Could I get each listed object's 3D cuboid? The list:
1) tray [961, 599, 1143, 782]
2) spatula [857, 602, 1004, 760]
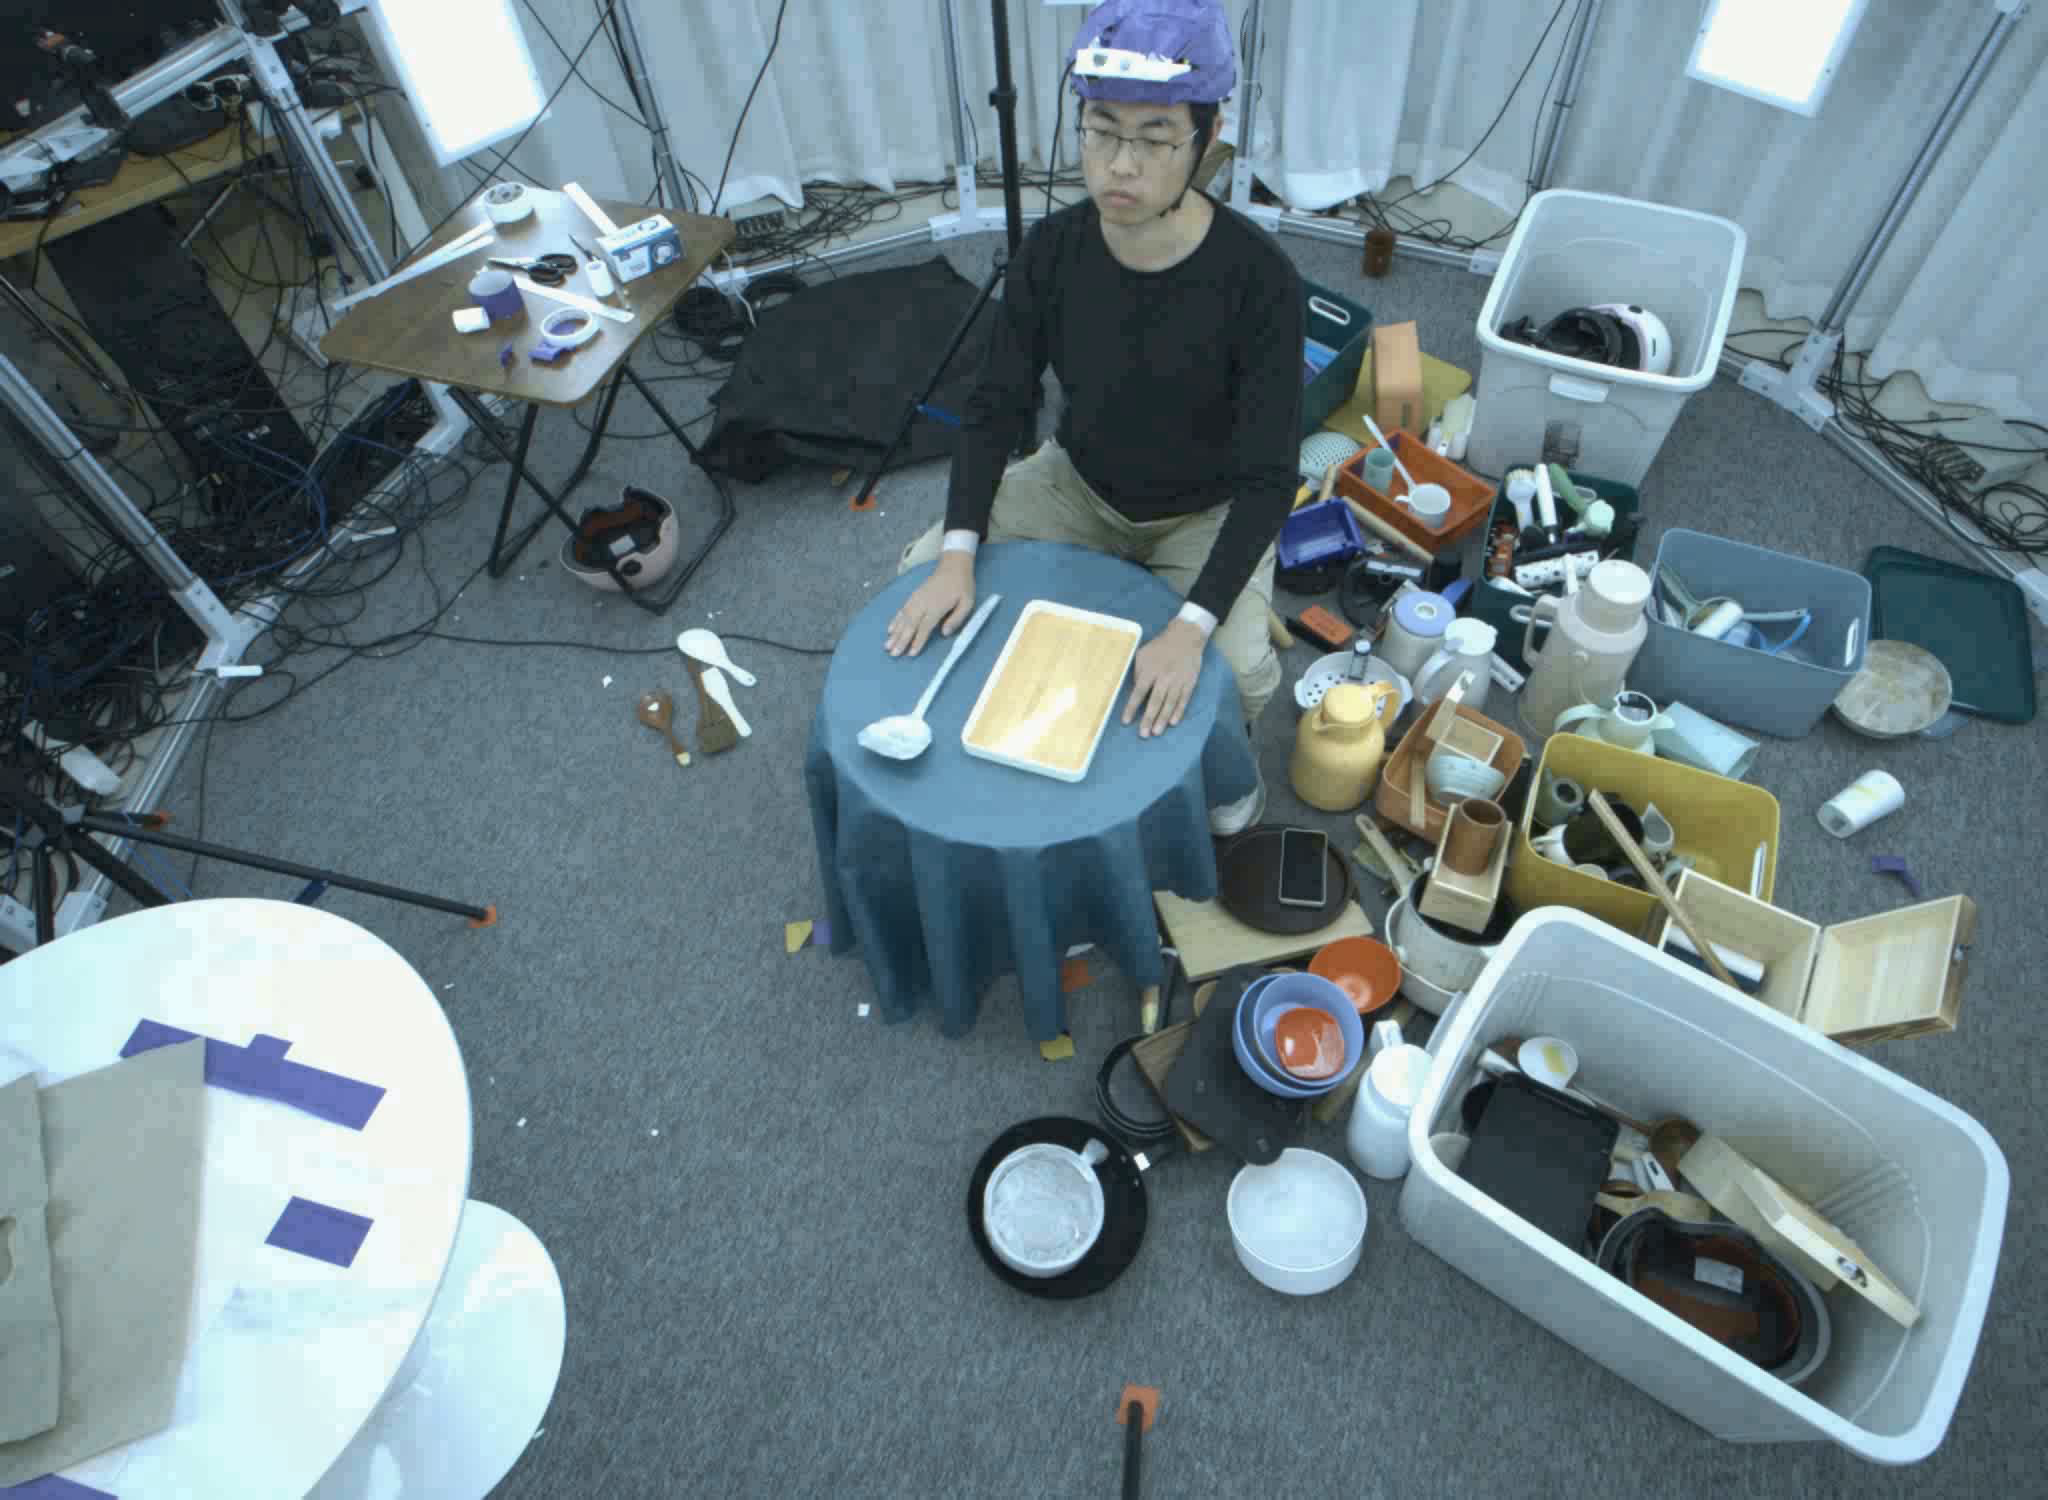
[{"bbox_3d":[0.046,-0.095,1.837,0.190,0.028,0.300,16,57,13],"label":"tray"},{"bbox_3d":[-0.124,-0.117,1.851,0.097,0.045,0.365,21,58,17],"label":"spatula"}]
